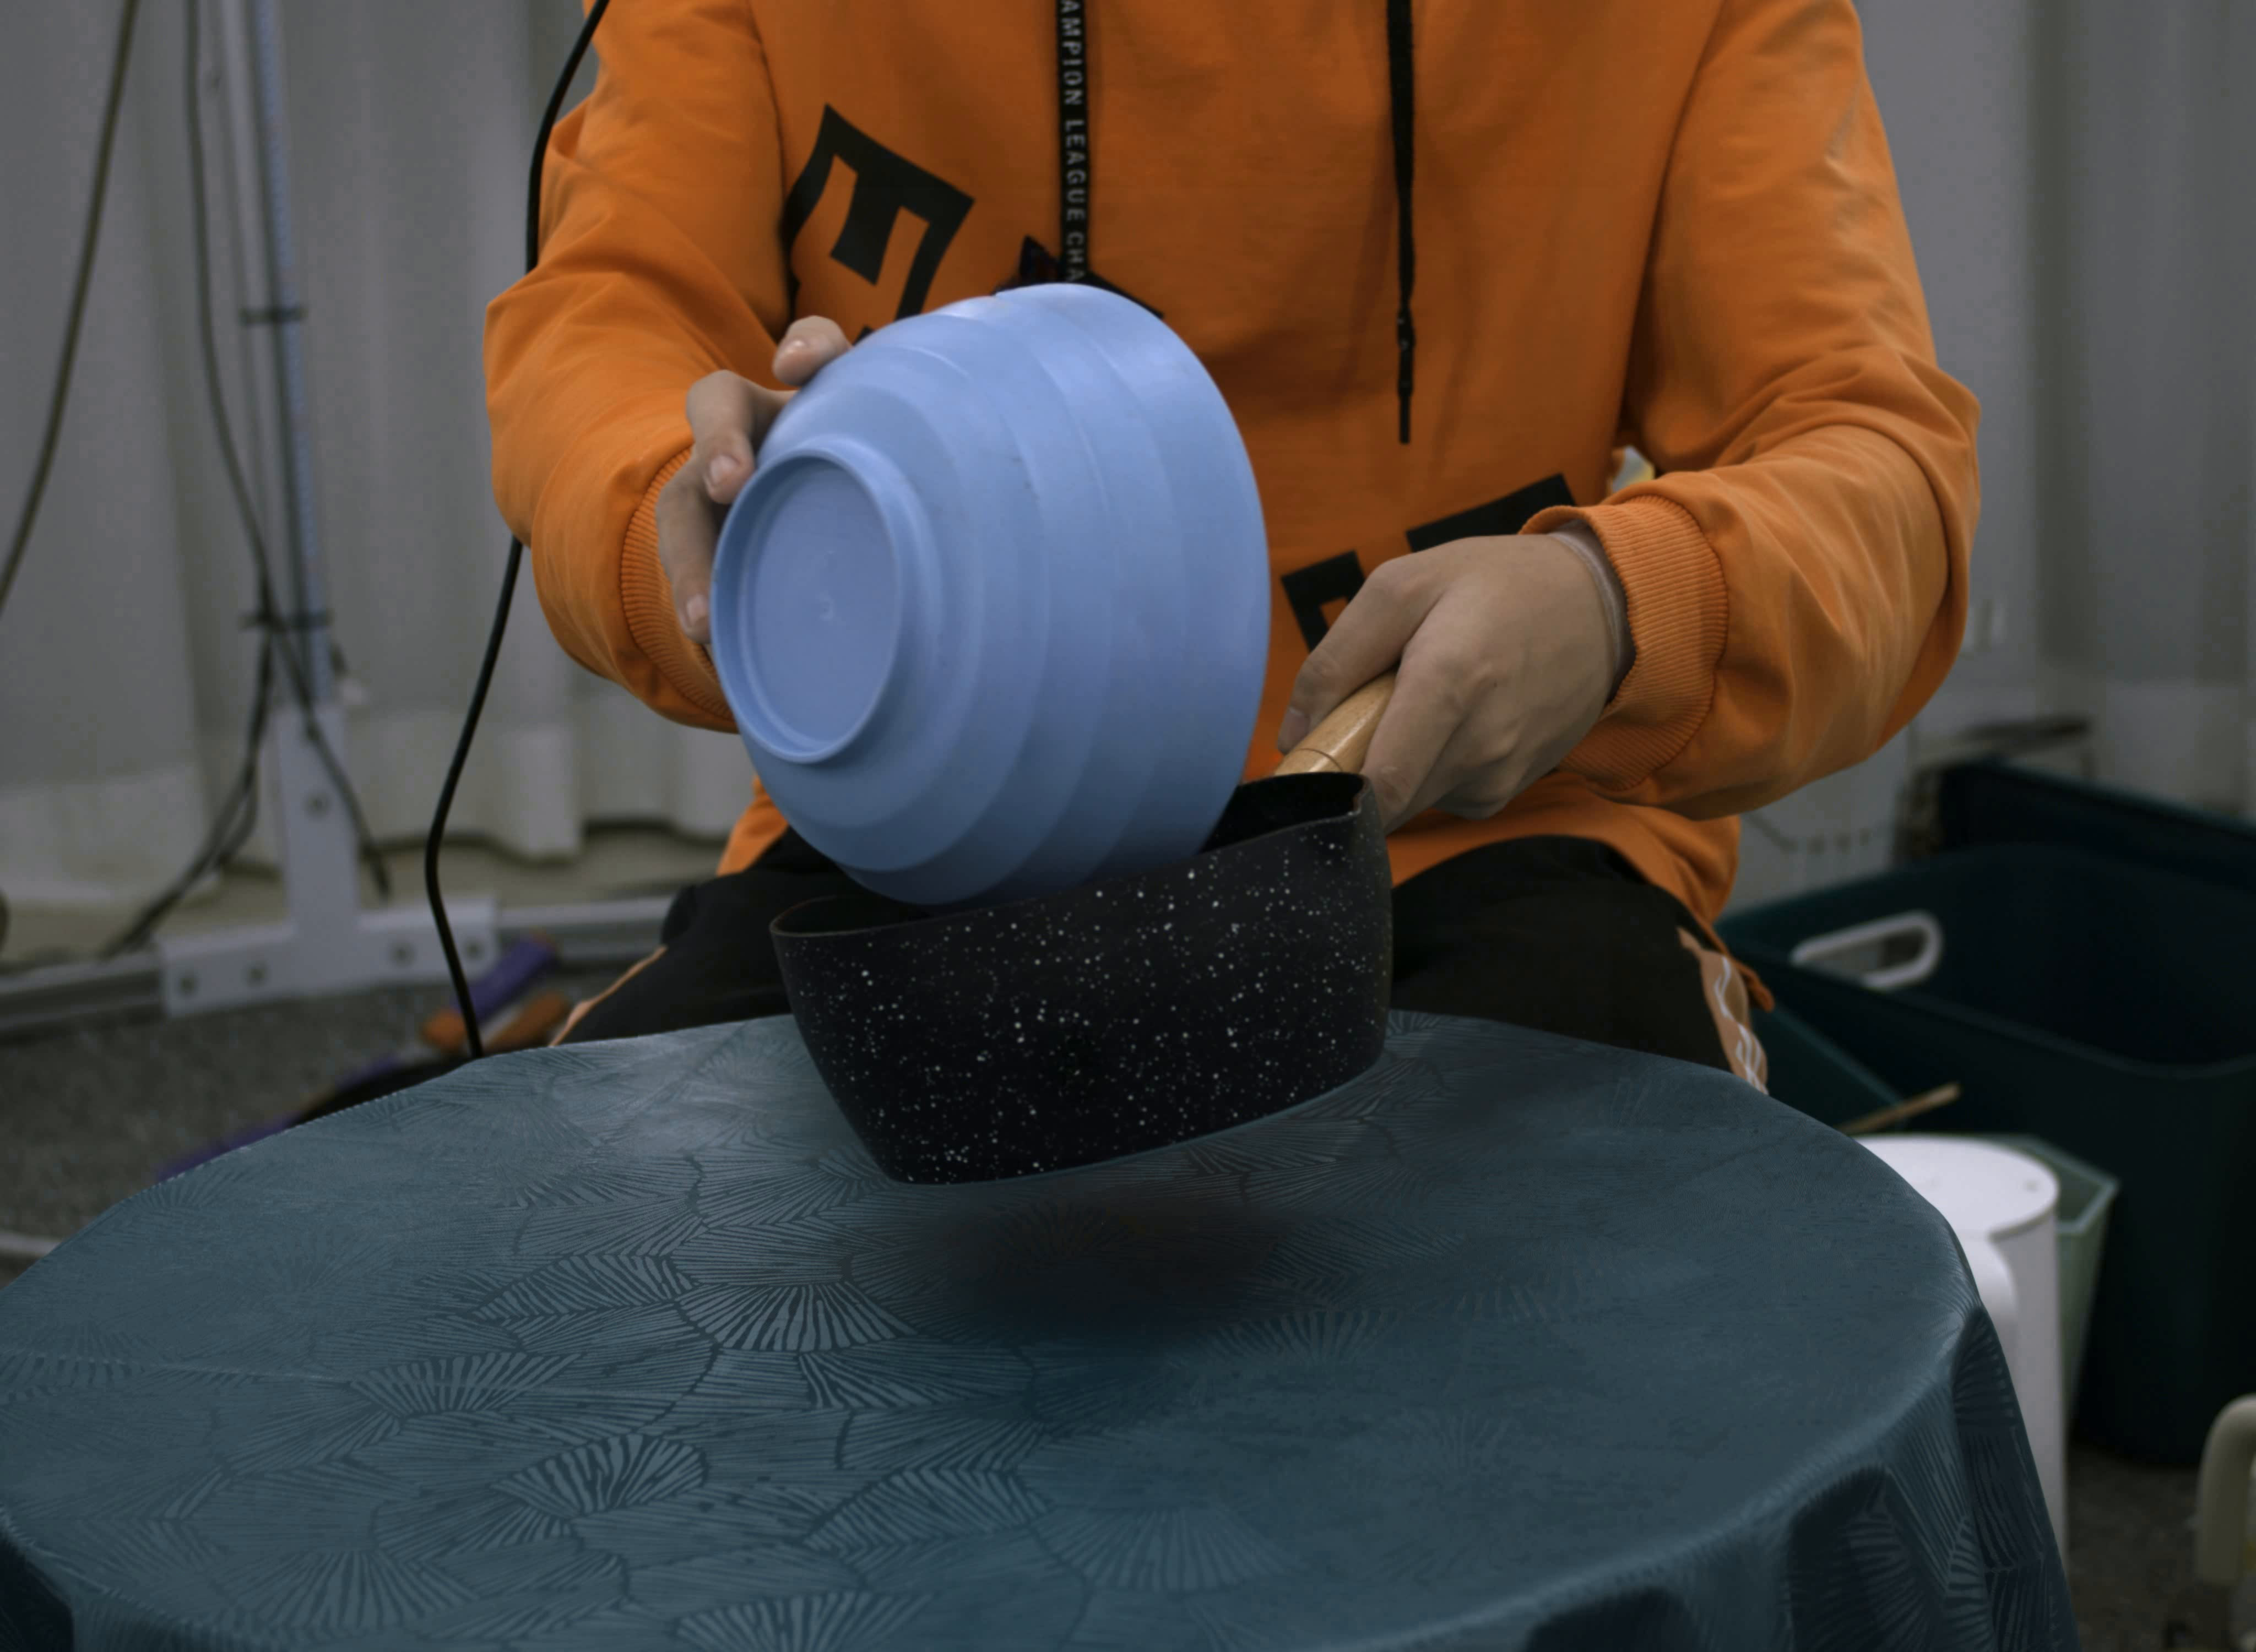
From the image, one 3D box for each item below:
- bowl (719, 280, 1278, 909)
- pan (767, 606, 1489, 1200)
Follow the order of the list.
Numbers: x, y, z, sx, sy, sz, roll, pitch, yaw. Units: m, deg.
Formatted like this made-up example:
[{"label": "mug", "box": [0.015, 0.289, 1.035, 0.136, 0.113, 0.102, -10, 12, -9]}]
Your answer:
[{"label": "bowl", "box": [-0.056, -0.063, 1.600, 0.095, 0.196, 0.198, 0, 9, -40]}, {"label": "pan", "box": [0.030, 0.019, 1.689, 0.207, 0.108, 0.343, -11, 8, 34]}]
